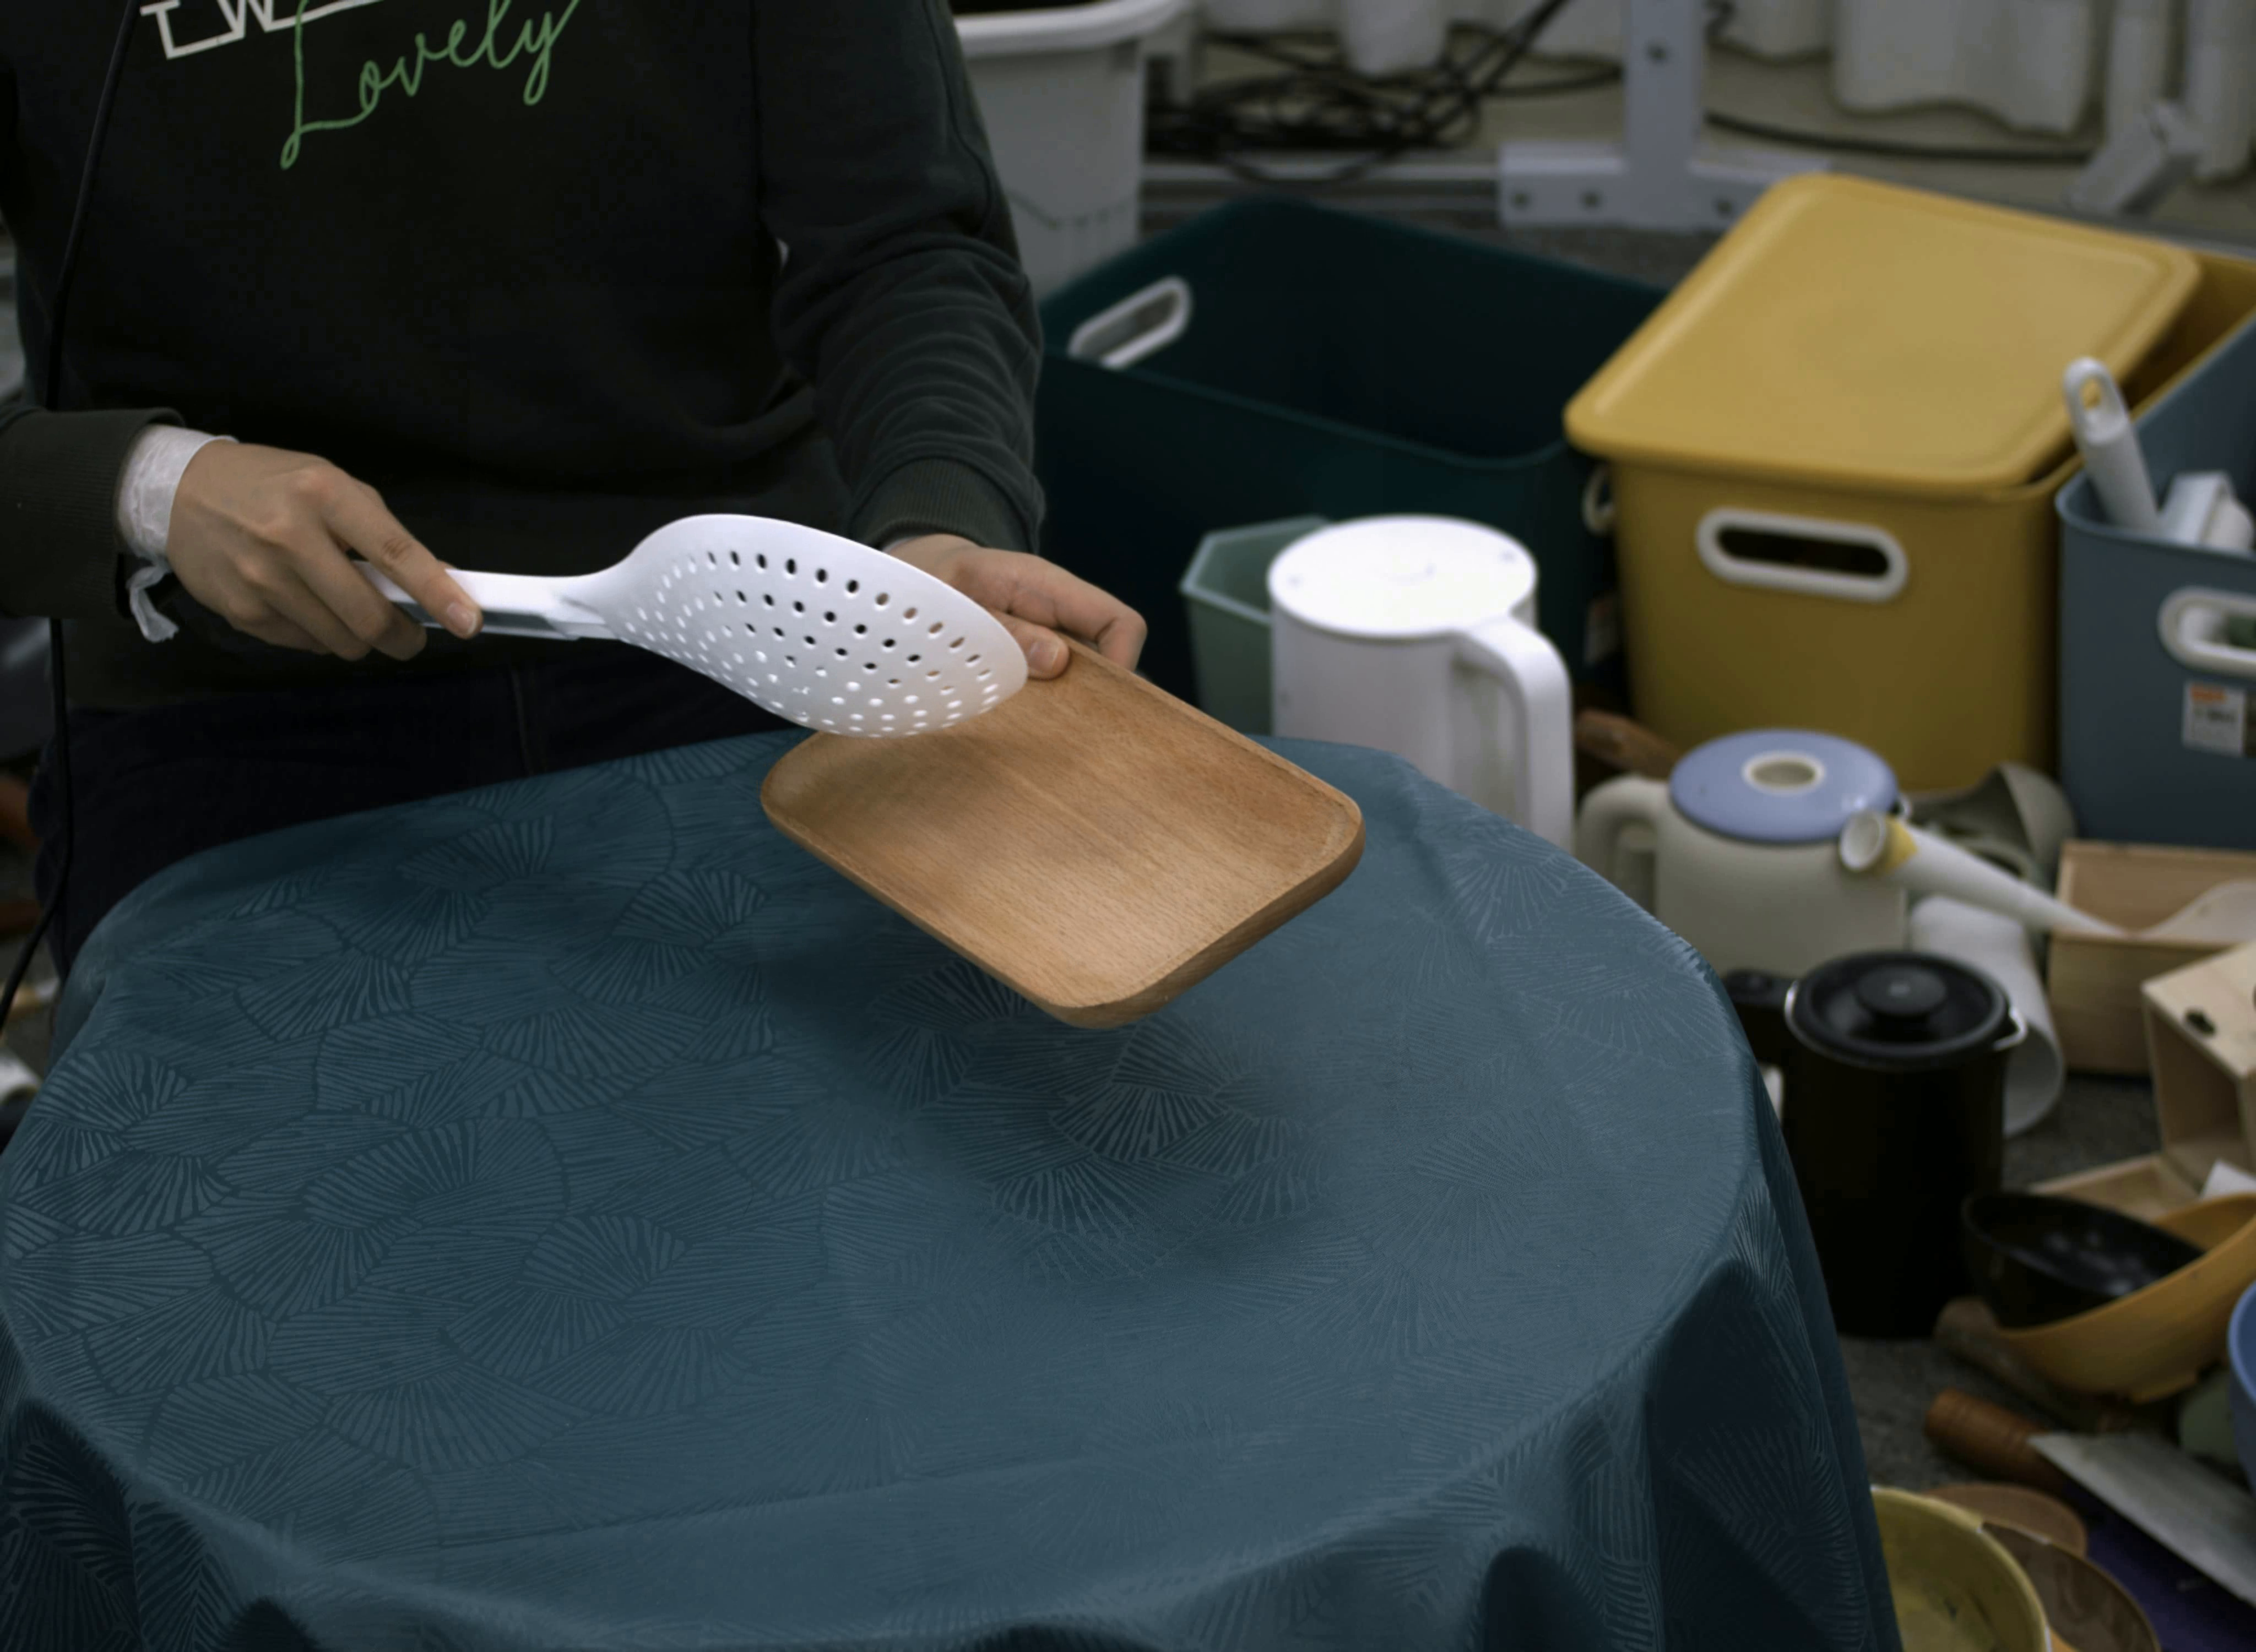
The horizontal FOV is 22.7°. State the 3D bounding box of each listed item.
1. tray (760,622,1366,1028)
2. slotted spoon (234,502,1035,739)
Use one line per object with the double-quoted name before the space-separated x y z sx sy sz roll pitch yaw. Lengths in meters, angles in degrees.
"tray" -0.025 -0.003 1.921 0.131 0.022 0.251 -31 31 -19
"slotted spoon" -0.186 -0.076 1.997 0.347 0.135 0.046 11 67 37
